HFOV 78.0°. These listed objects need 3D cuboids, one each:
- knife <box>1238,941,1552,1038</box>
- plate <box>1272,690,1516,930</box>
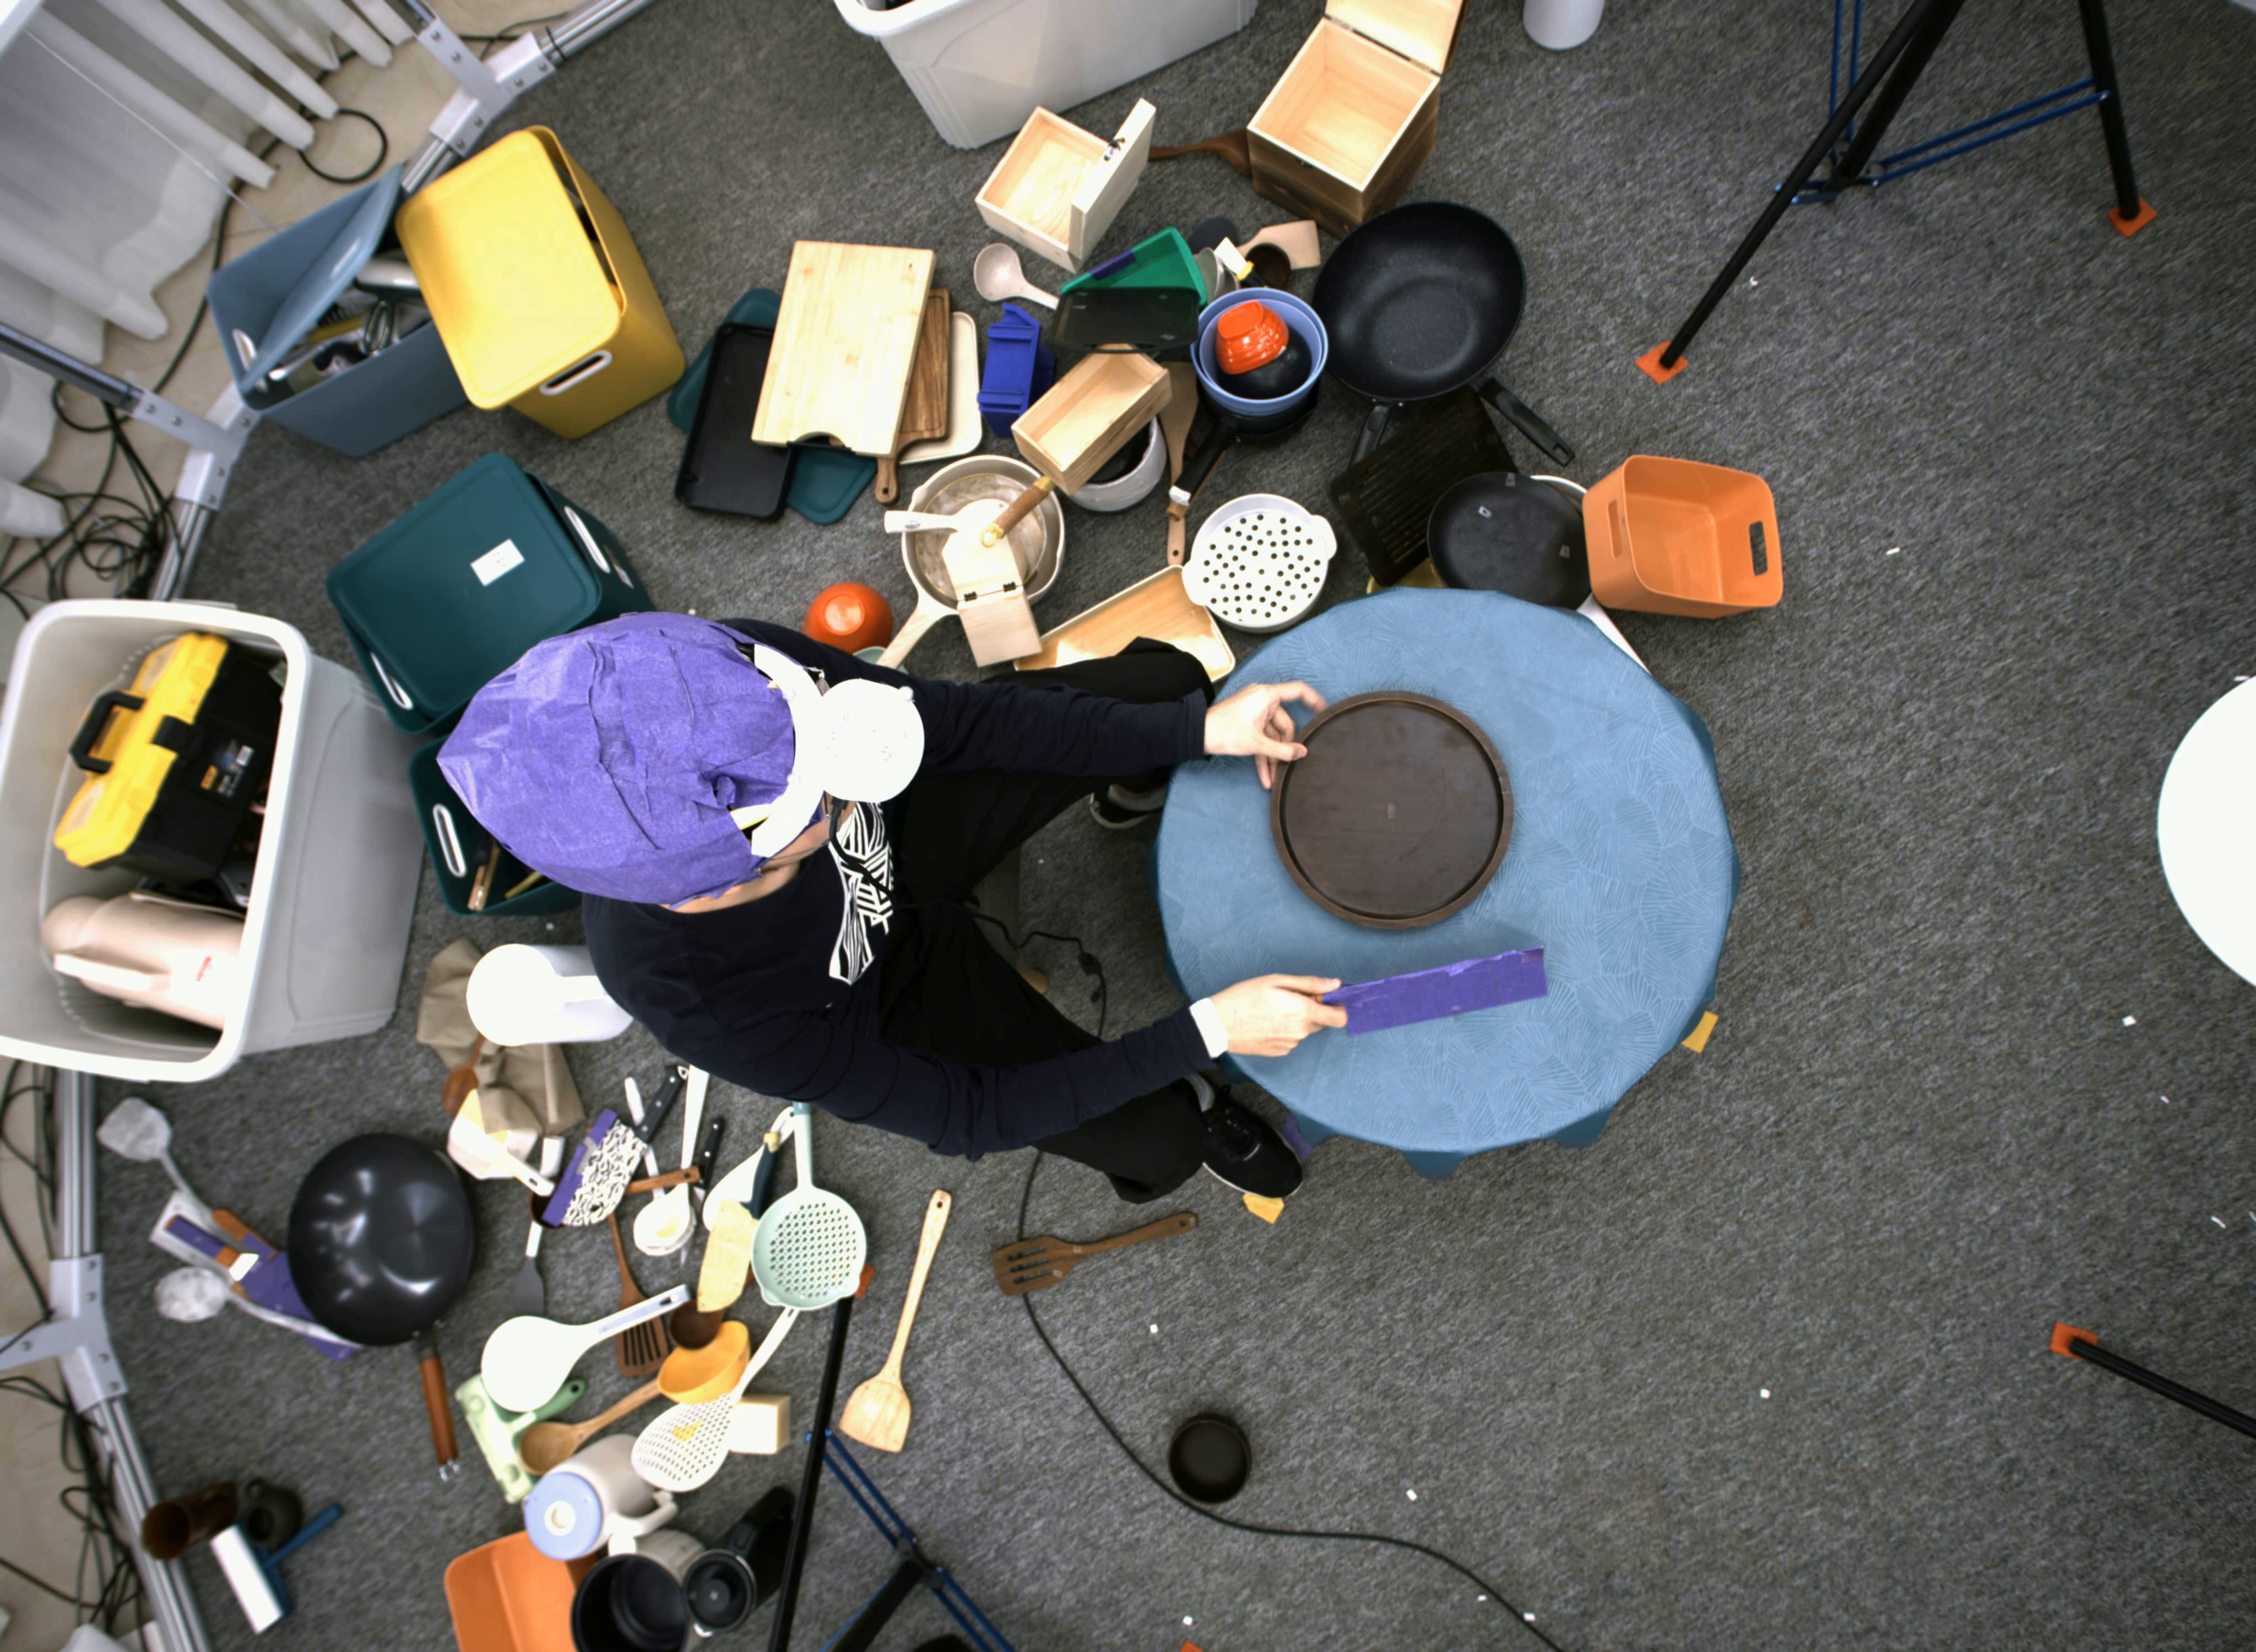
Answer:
[{"bbox_3d":[0.274,0.180,1.410,0.317,0.106,0.031,-12,45,12],"label":"knife"},{"bbox_3d":[0.277,-0.019,1.448,0.255,0.029,0.254,-1,88,8],"label":"plate"}]
